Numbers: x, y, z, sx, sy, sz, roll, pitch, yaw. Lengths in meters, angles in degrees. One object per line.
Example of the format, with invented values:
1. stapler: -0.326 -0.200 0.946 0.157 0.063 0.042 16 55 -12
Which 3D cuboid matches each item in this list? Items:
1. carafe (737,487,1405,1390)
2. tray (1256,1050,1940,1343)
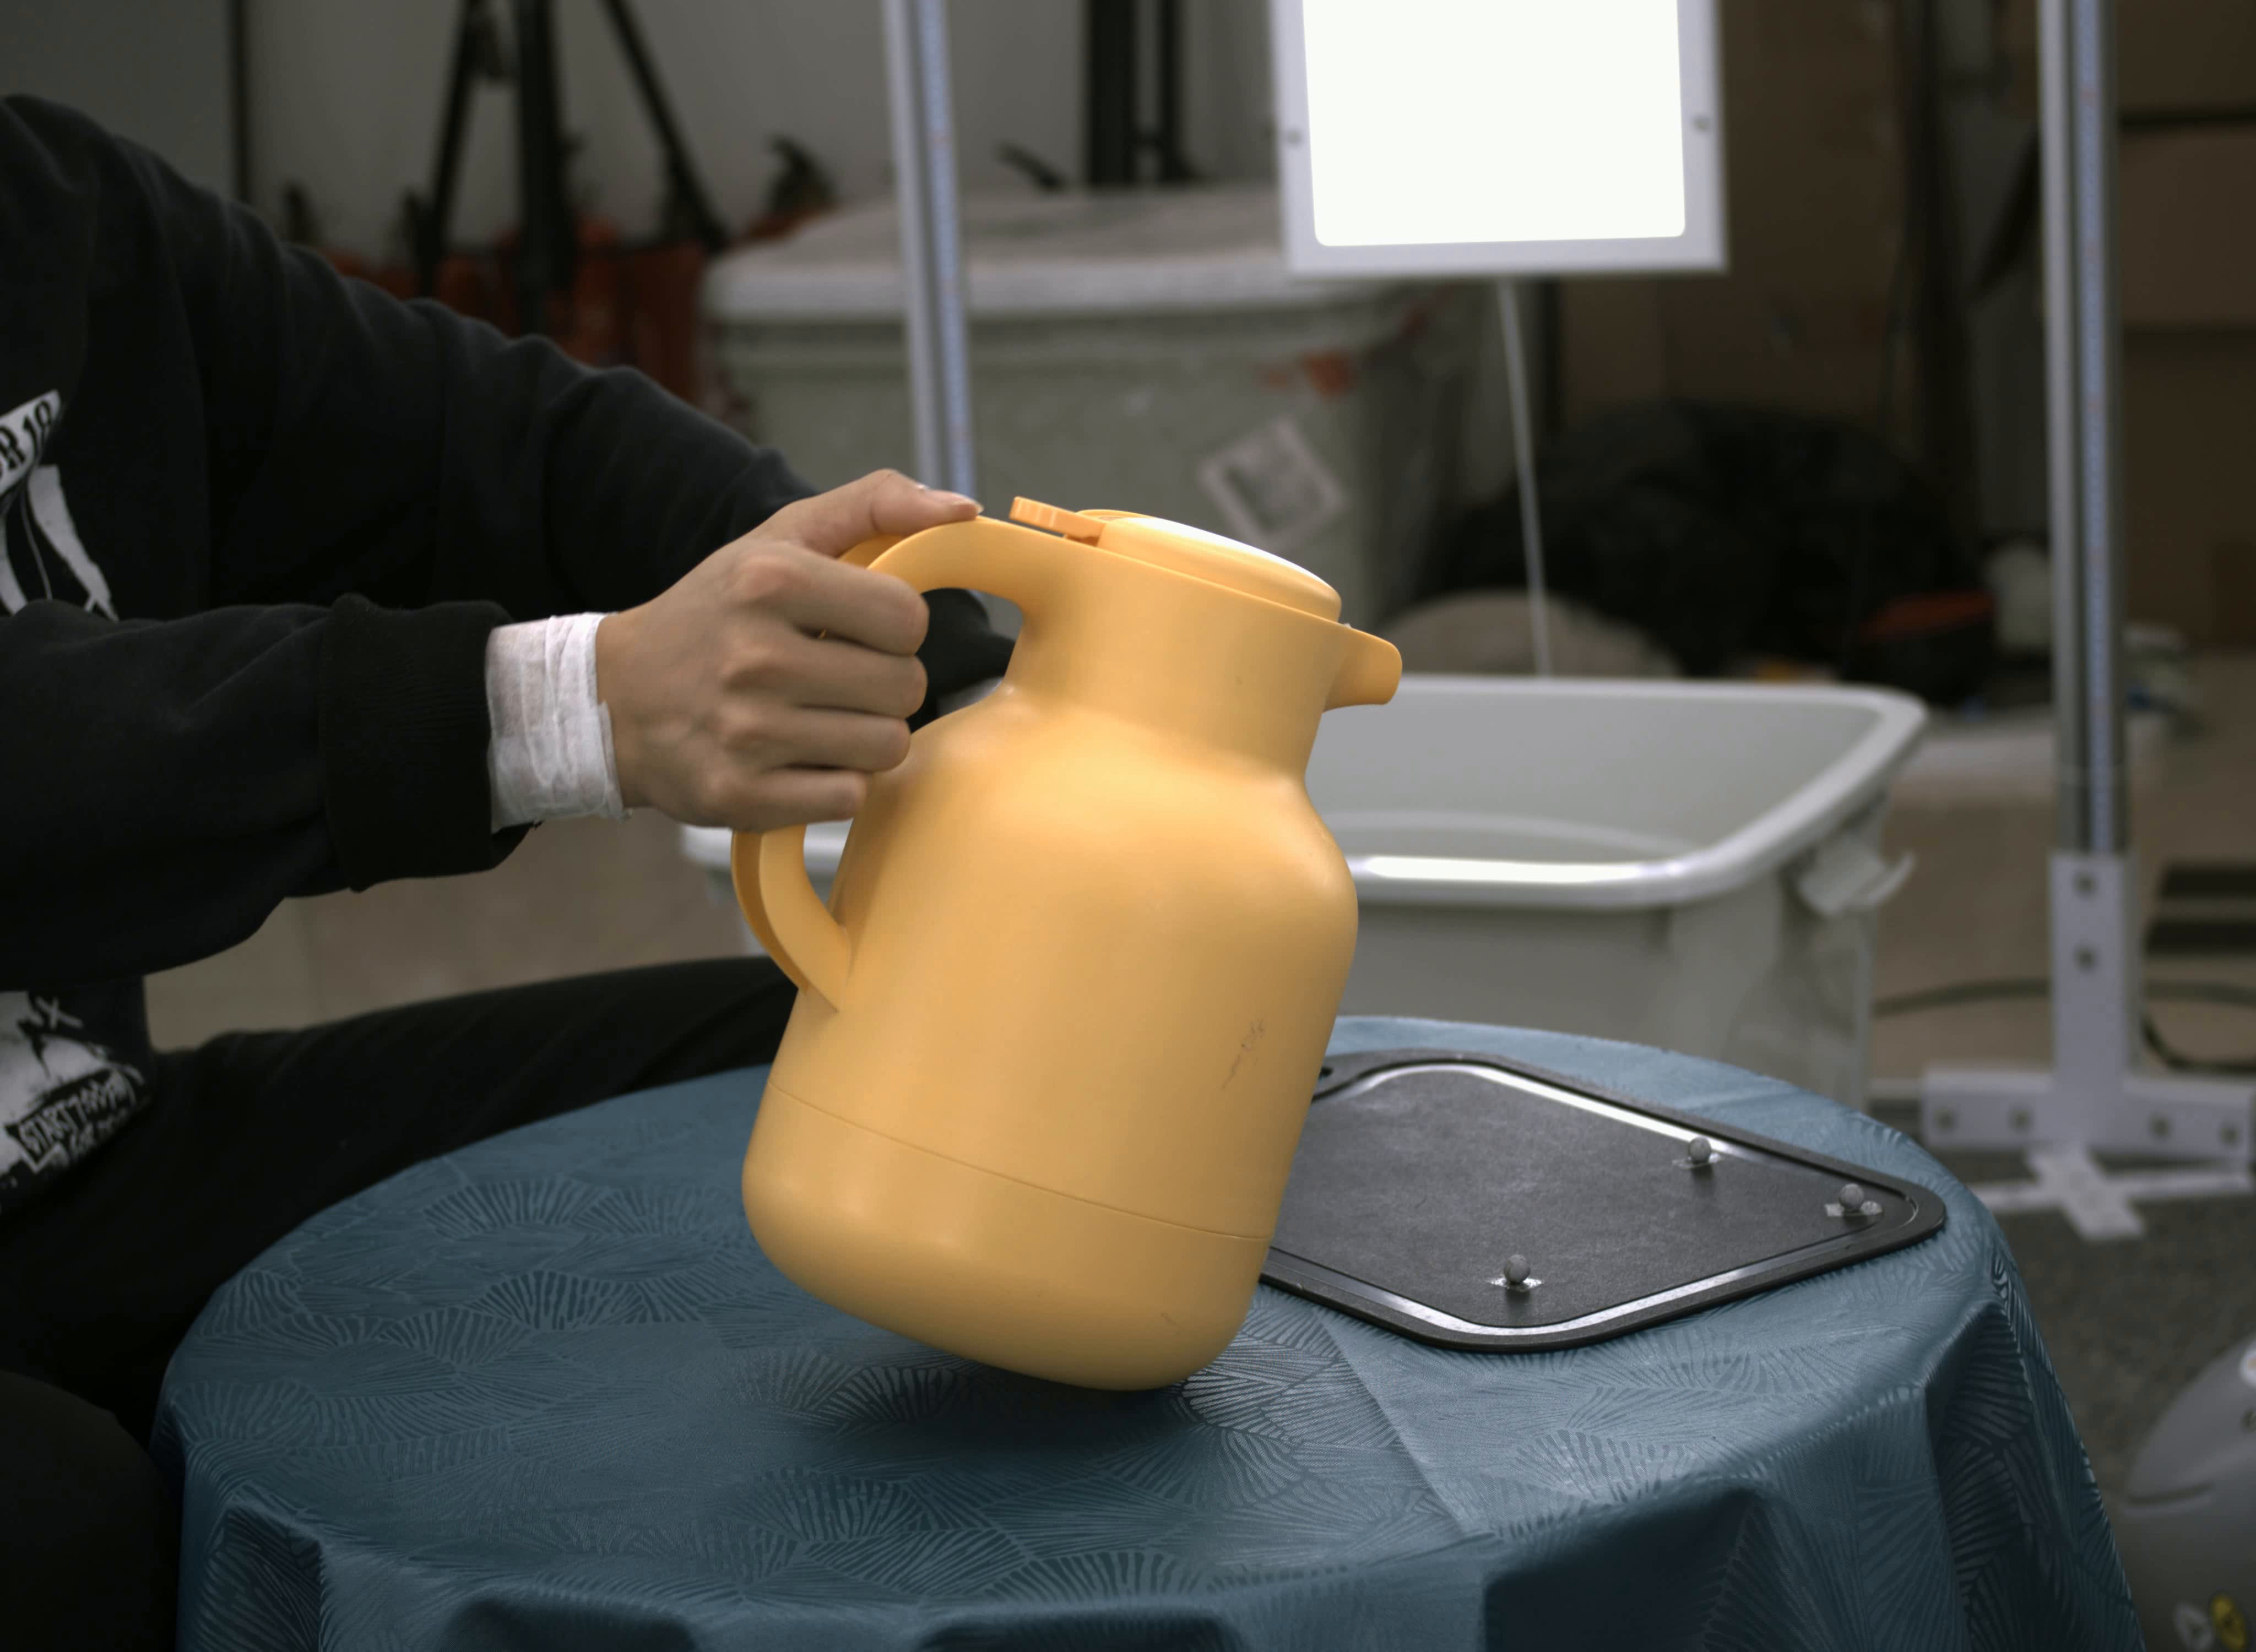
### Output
1. carafe: -0.028 0.028 1.683 0.199 0.261 0.166 16 0 -22
2. tray: 0.109 0.120 1.872 0.206 0.010 0.332 -13 16 -30
